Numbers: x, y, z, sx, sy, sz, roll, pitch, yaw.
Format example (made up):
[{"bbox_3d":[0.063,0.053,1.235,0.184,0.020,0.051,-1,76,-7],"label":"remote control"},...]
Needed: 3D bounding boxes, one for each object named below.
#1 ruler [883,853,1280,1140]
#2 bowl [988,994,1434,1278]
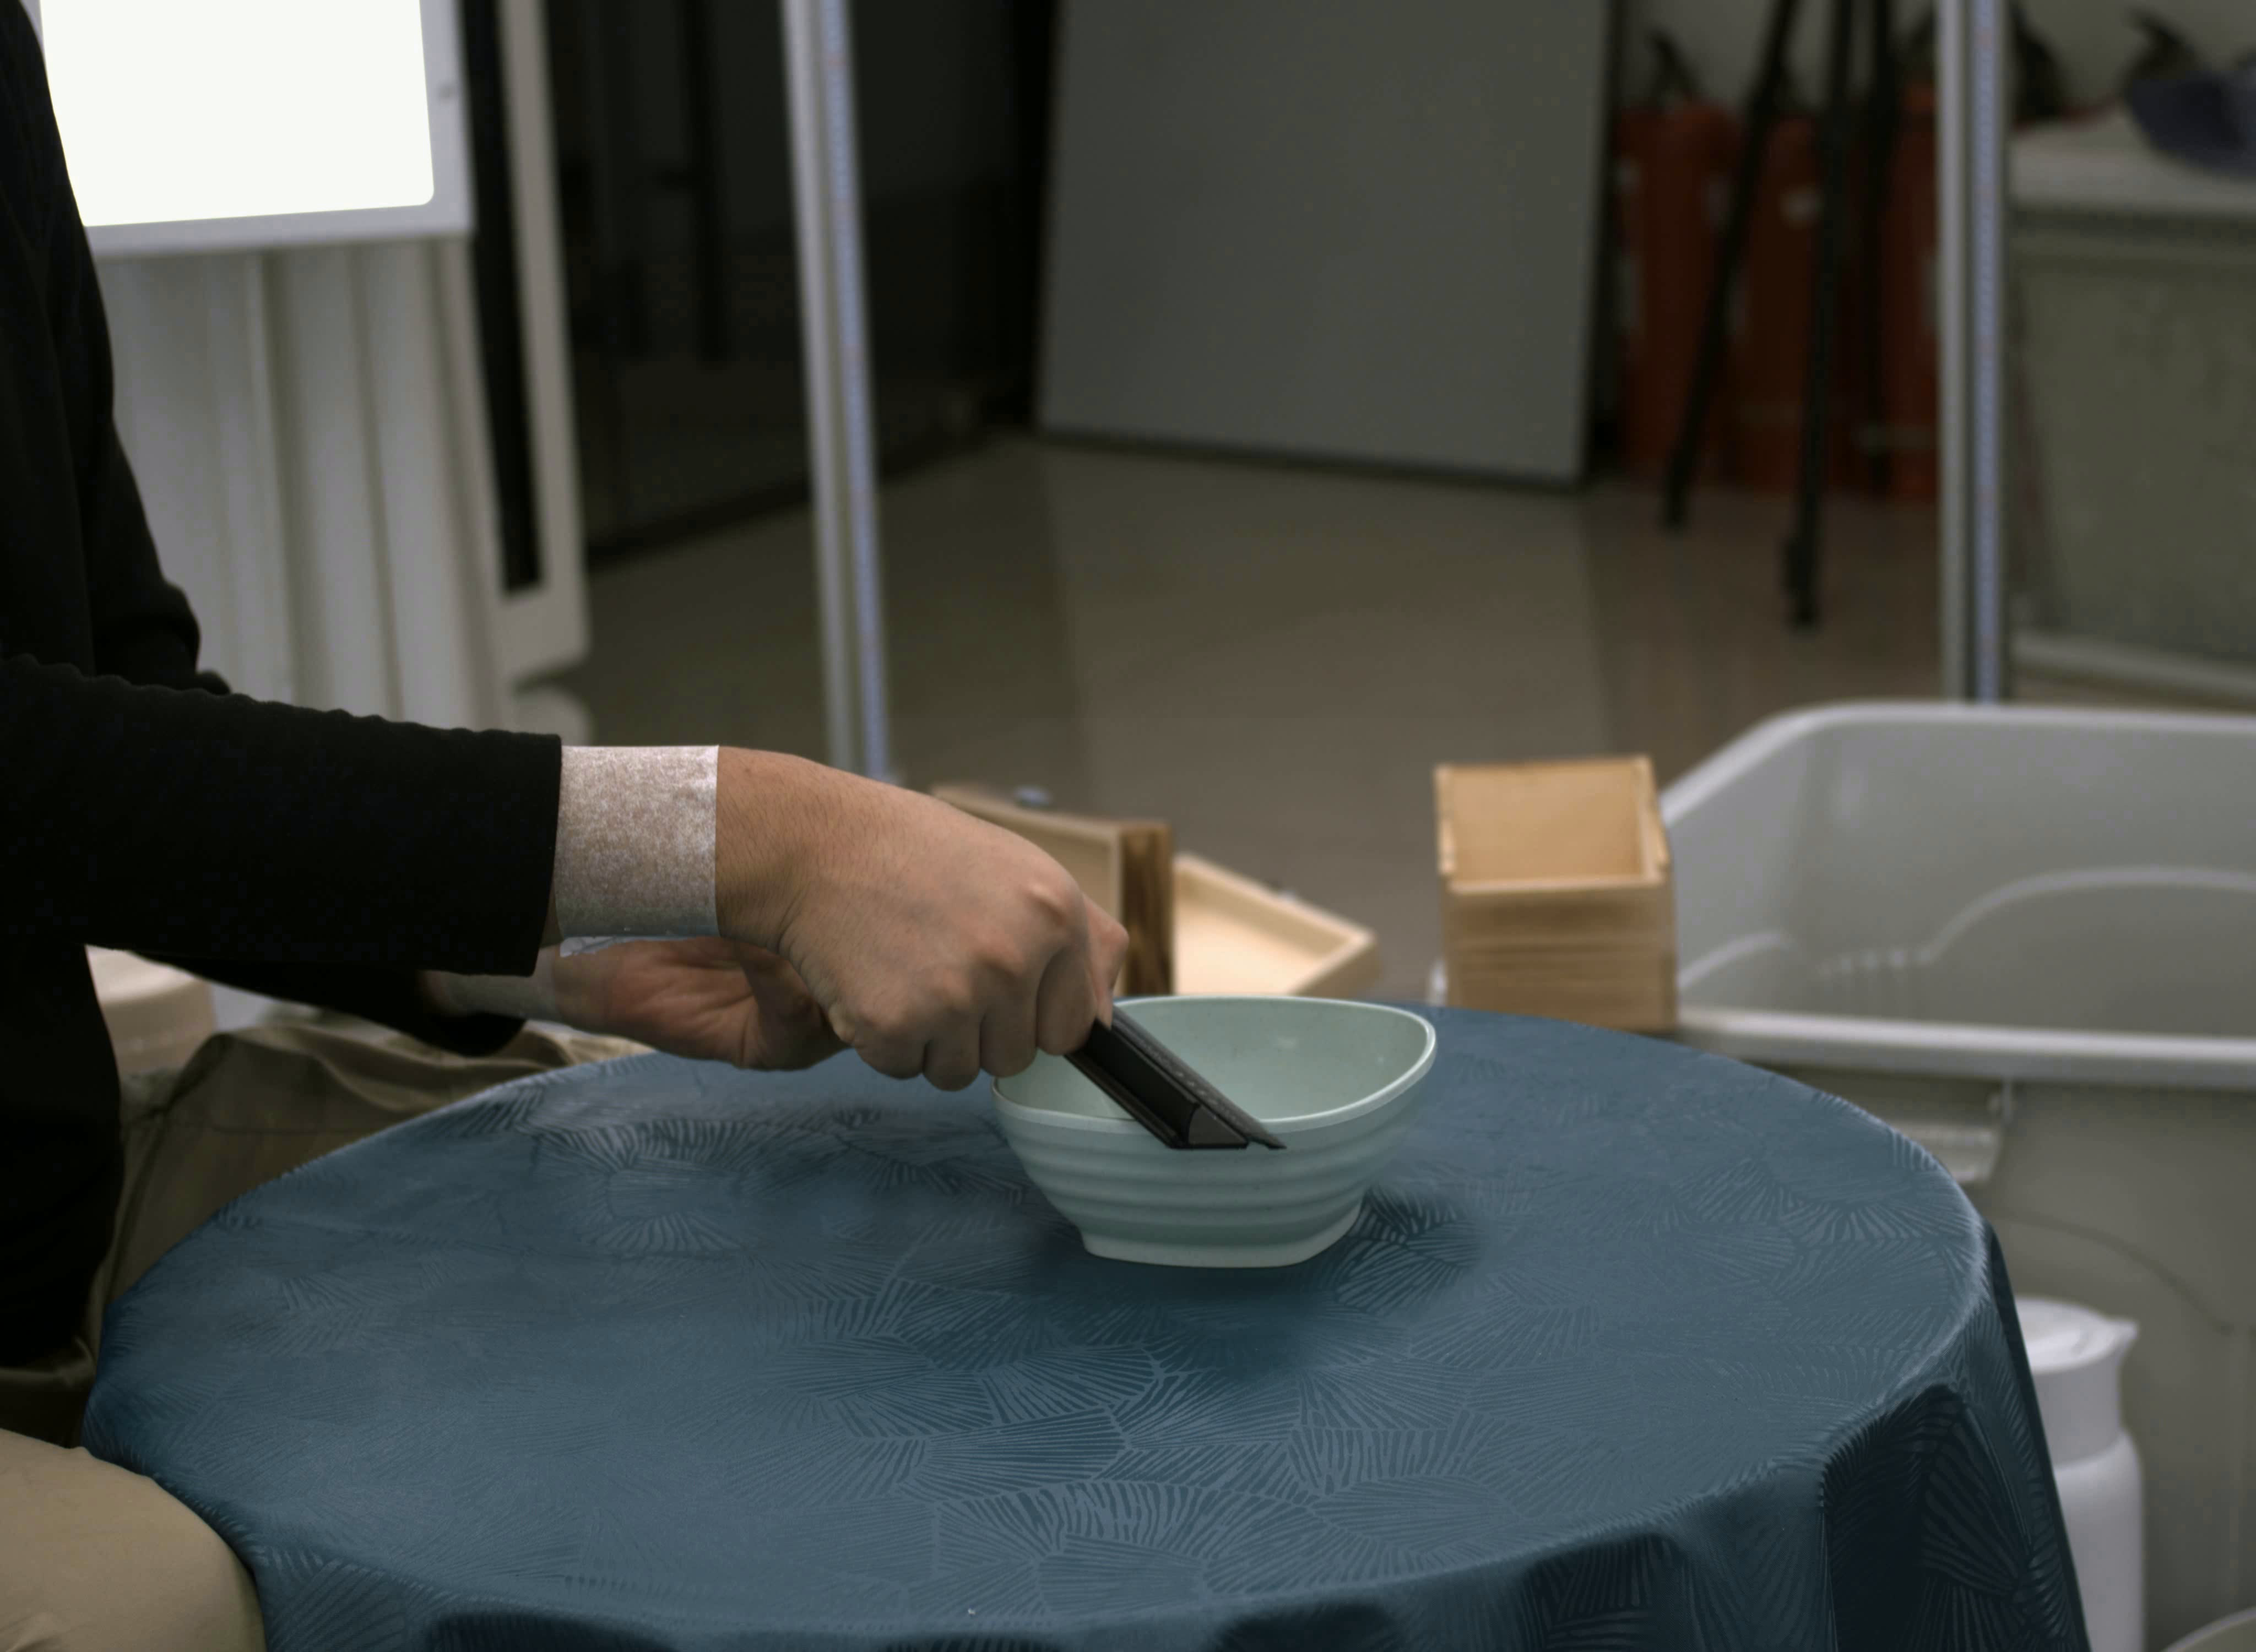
[{"bbox_3d":[-0.018,0.052,1.751,0.038,0.017,0.315,5,11,-20],"label":"ruler"},{"bbox_3d":[0.028,0.102,1.724,0.149,0.059,0.152,-3,15,0],"label":"bowl"}]
